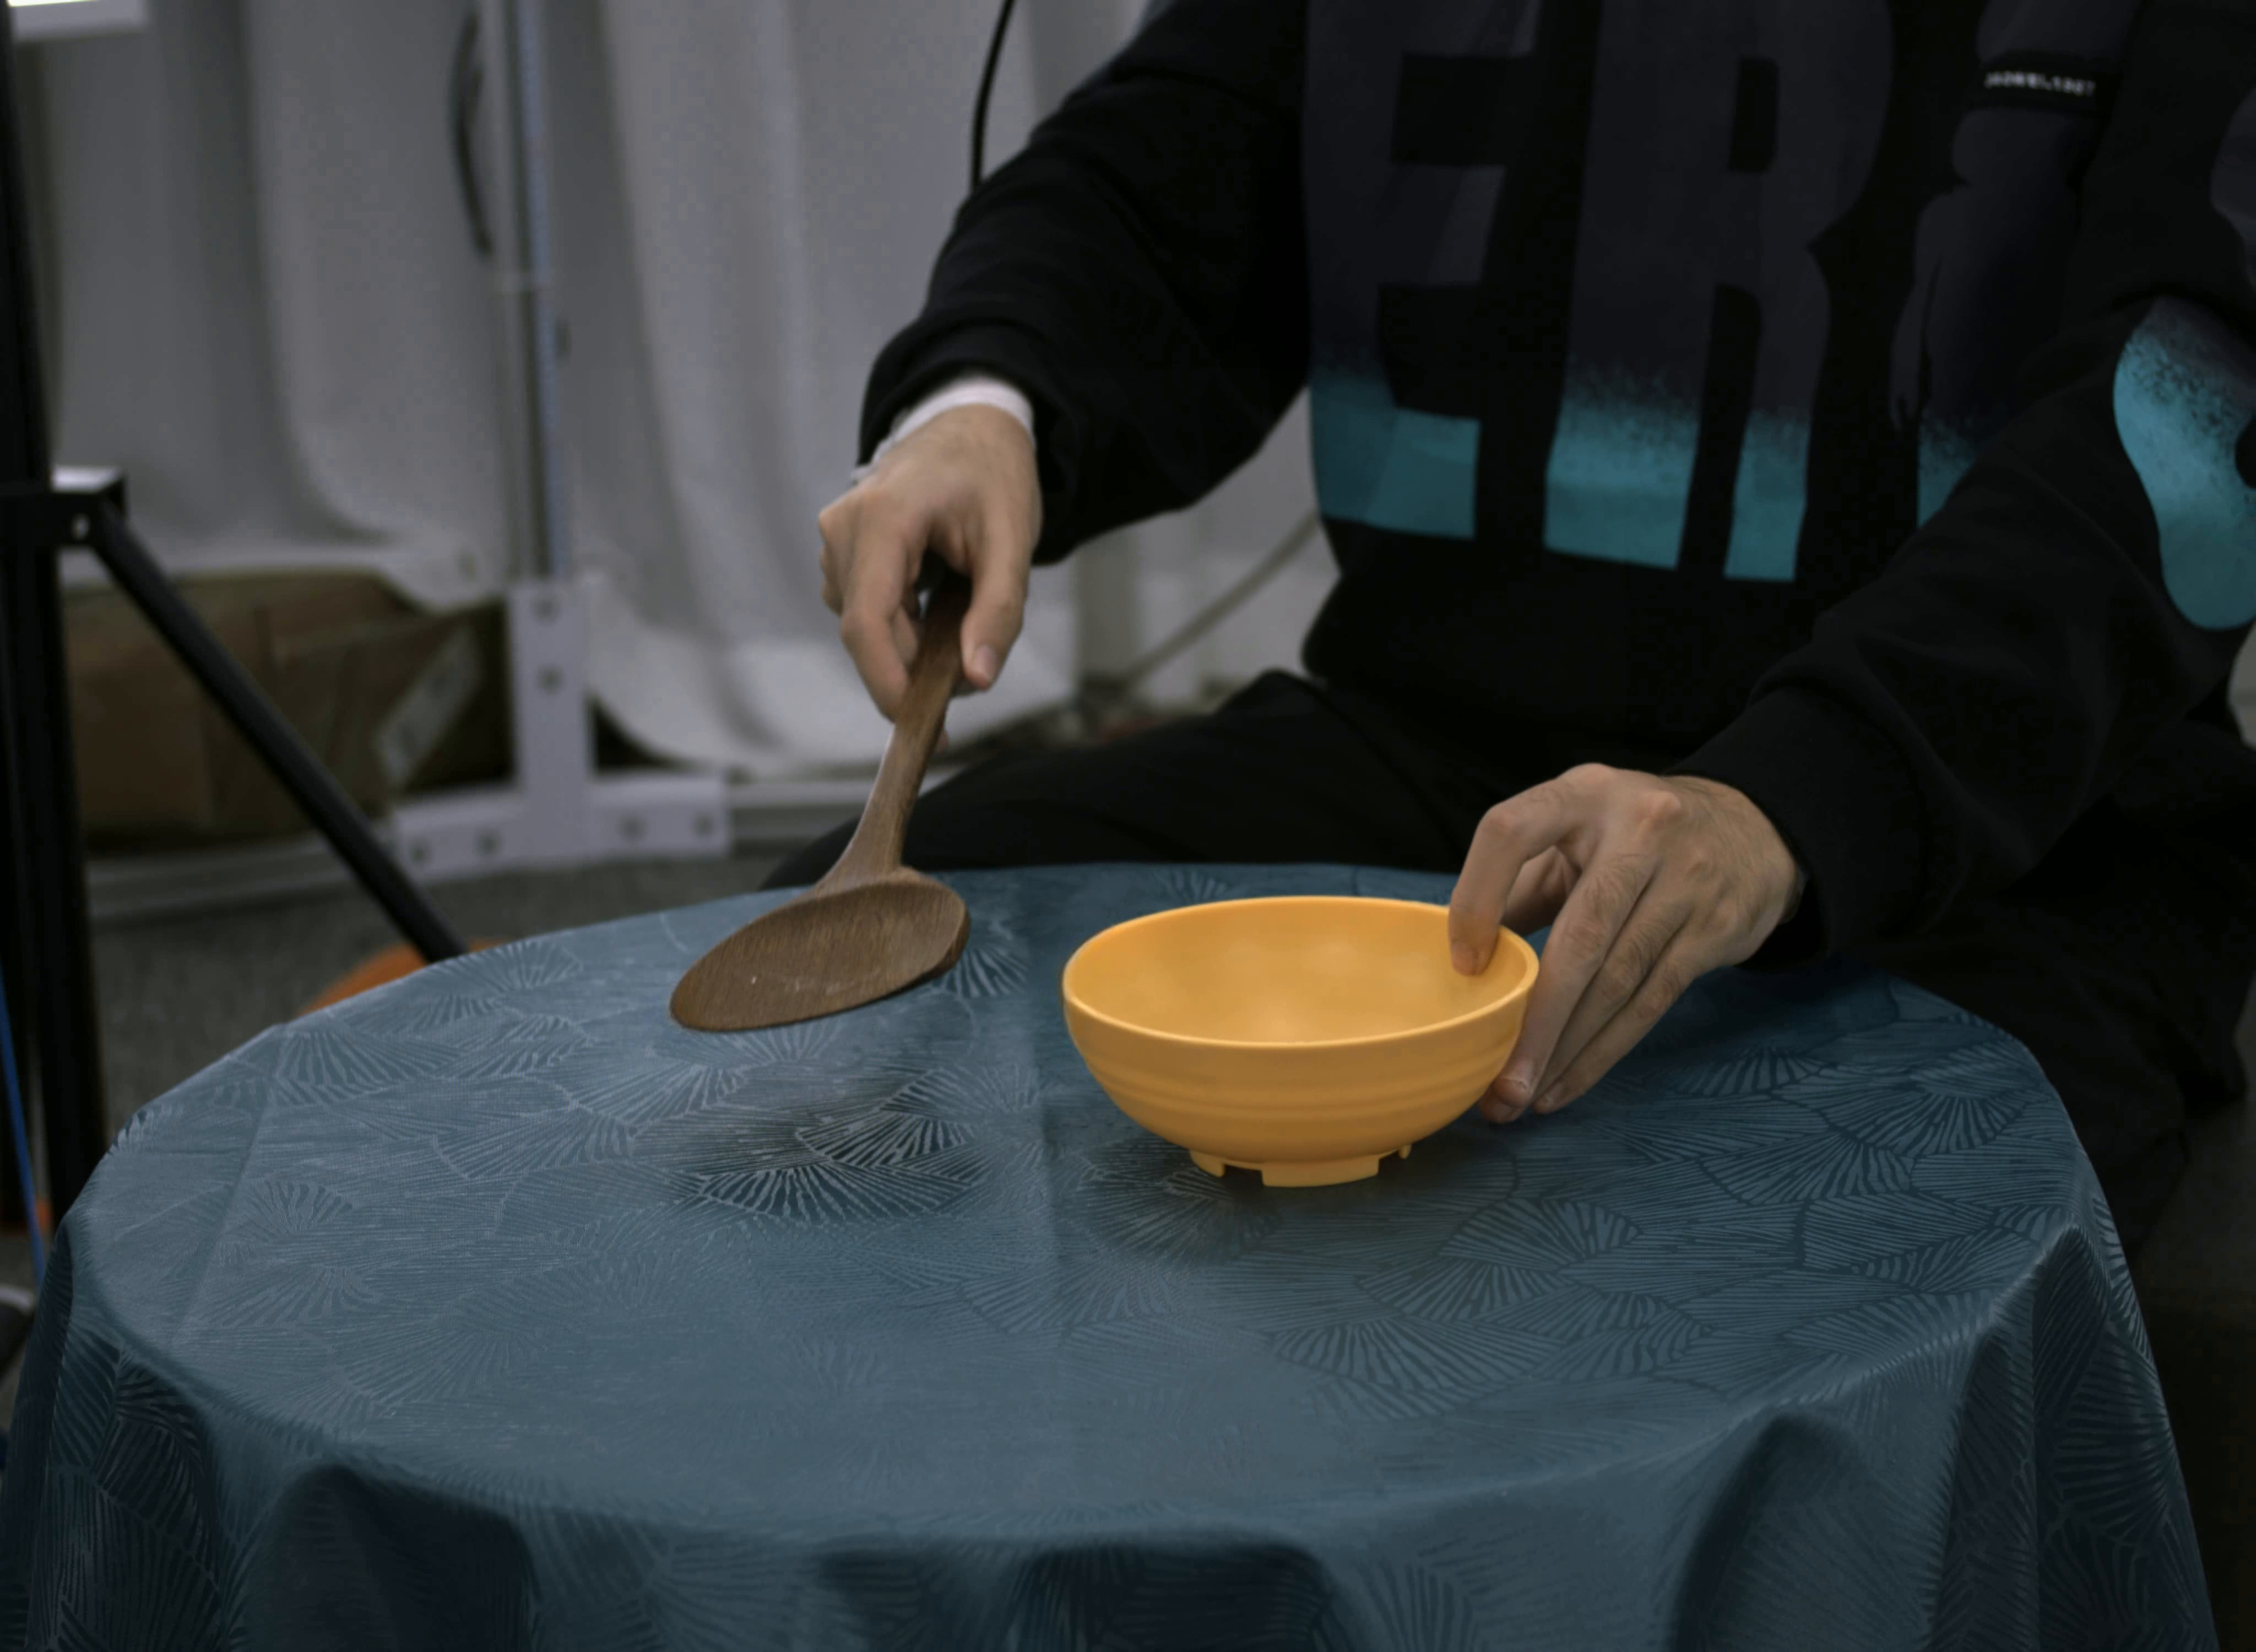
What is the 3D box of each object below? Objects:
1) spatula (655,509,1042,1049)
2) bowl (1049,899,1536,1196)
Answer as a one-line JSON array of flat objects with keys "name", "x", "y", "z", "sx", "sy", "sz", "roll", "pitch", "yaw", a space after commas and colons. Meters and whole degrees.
[{"name": "spatula", "x": -0.071, "y": -0.025, "z": 1.738, "sx": 0.097, "sy": 0.015, "sz": 0.386, "roll": -12, "pitch": 25, "yaw": 16}, {"name": "bowl", "x": 0.048, "y": 0.071, "z": 1.580, "sx": 0.144, "sy": 0.060, "sz": 0.146, "roll": 0, "pitch": 16, "yaw": -1}]
